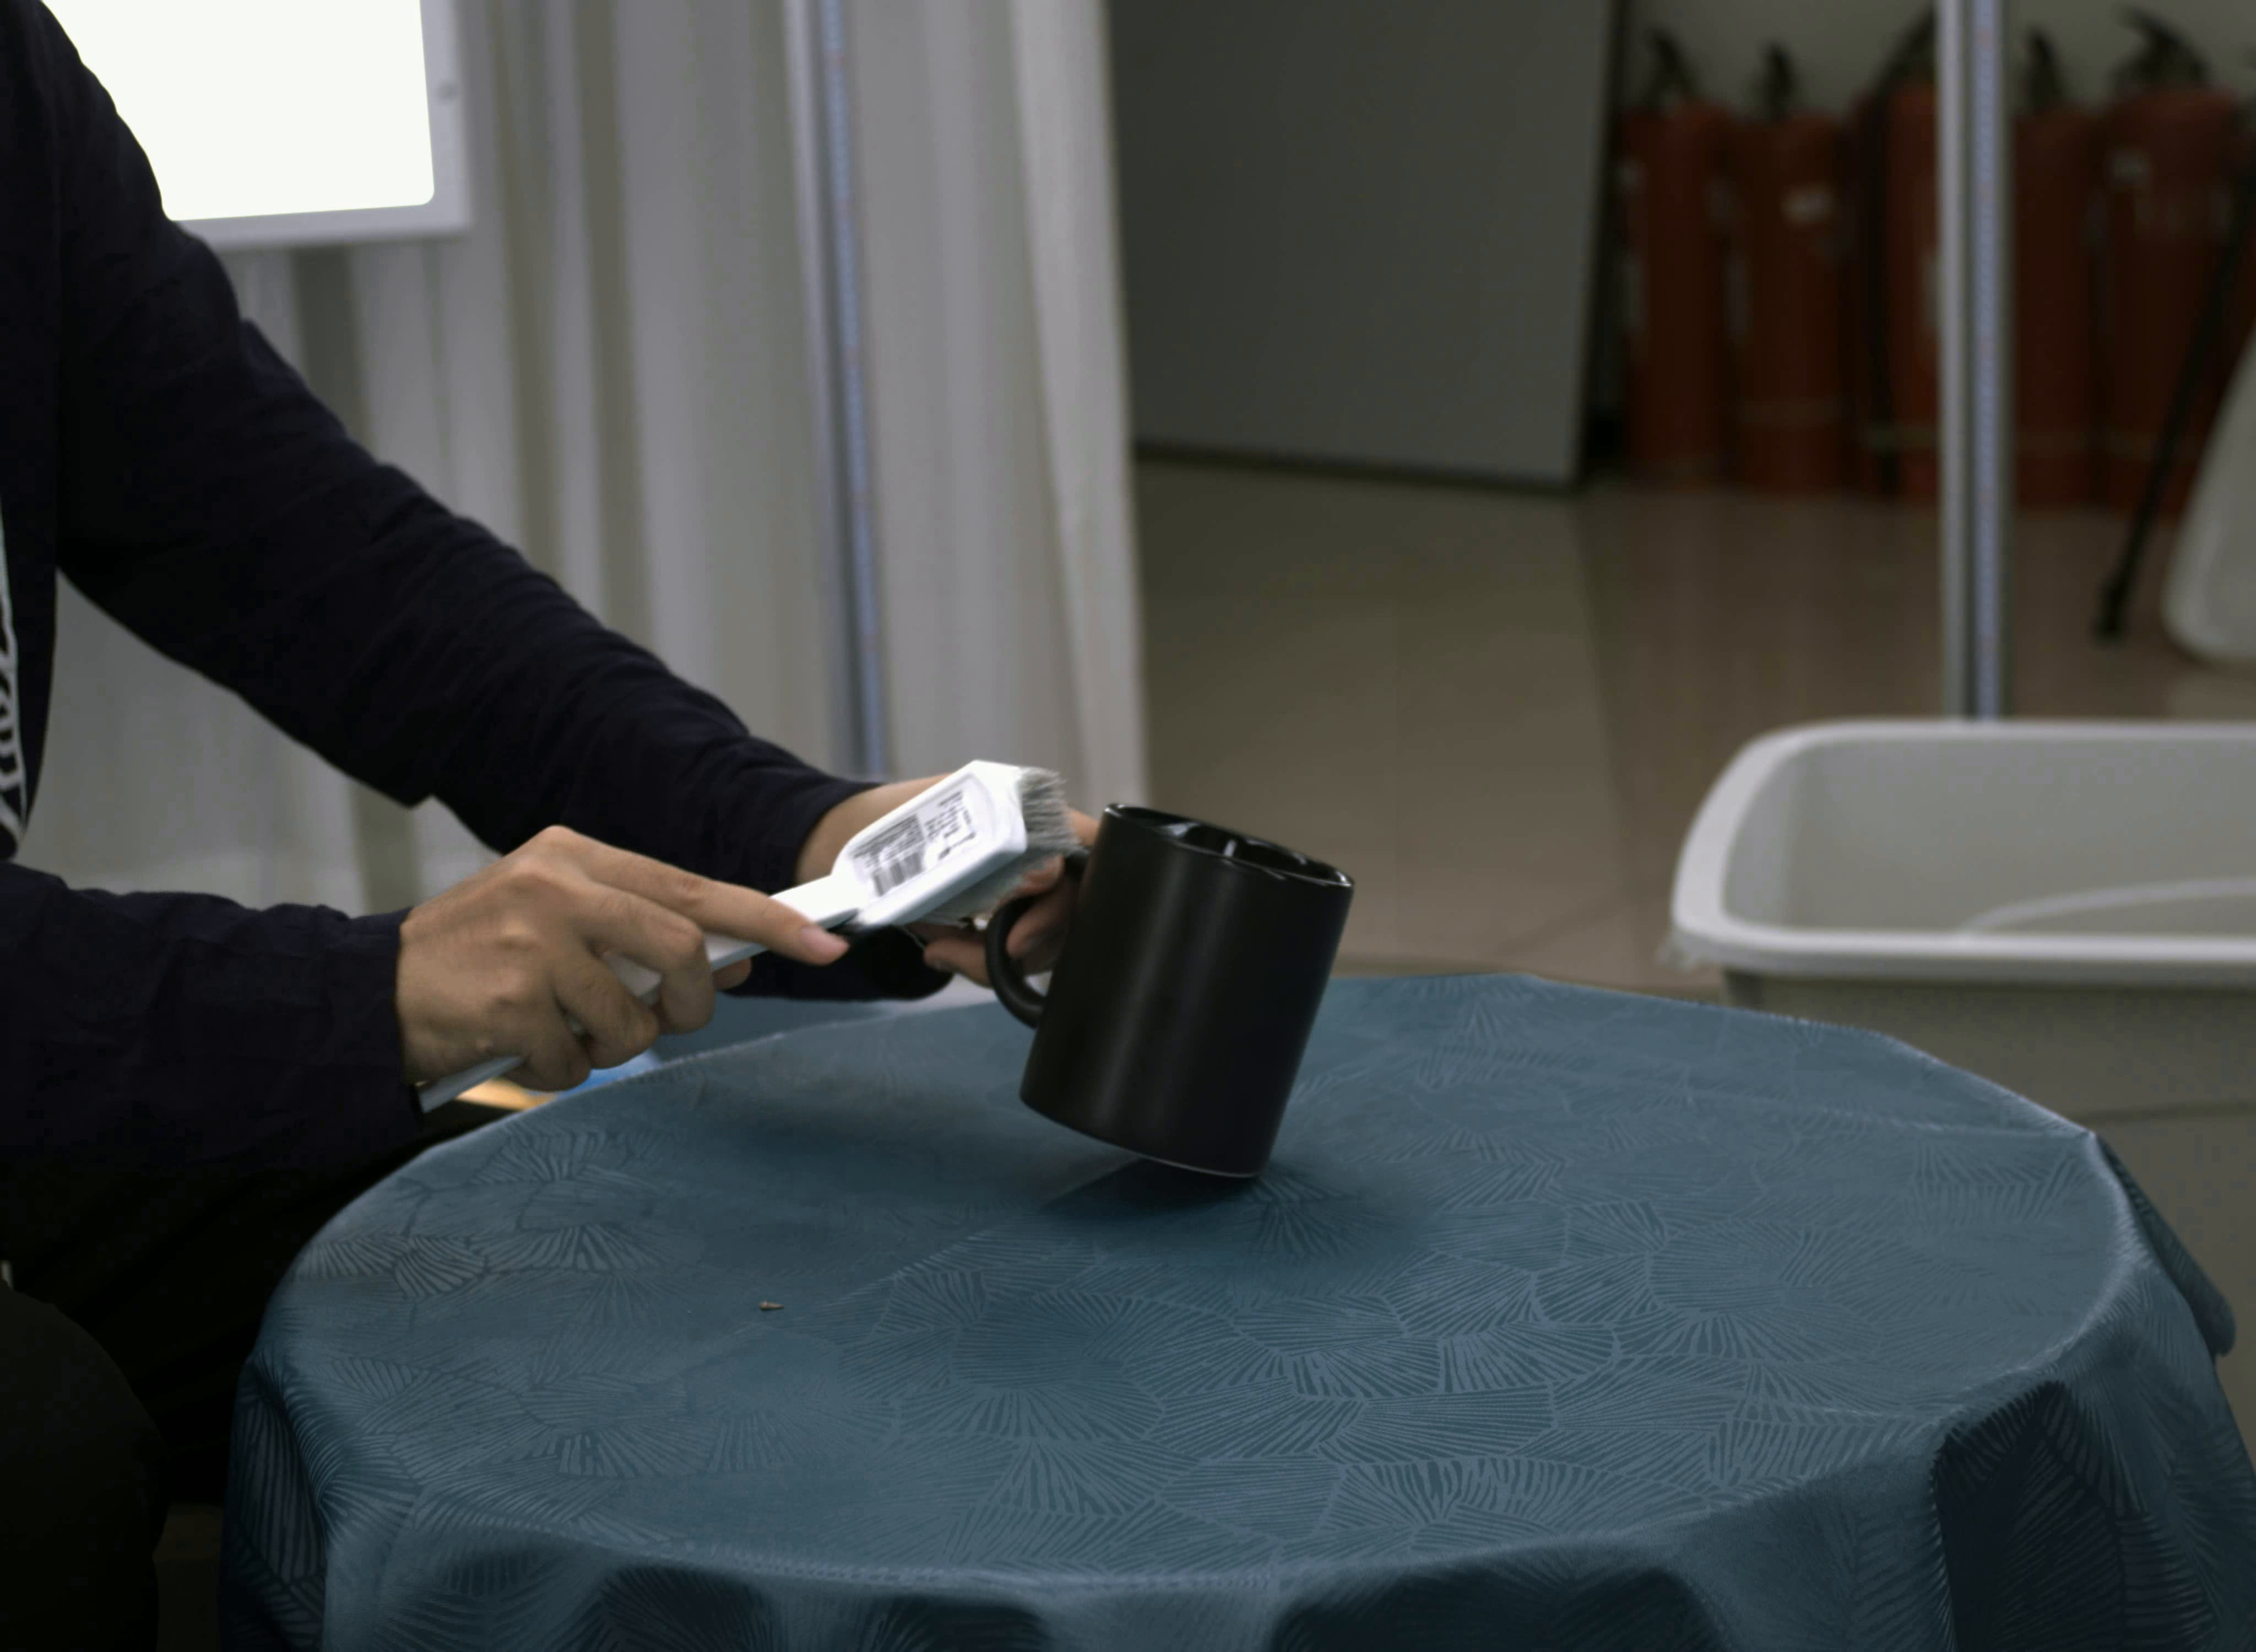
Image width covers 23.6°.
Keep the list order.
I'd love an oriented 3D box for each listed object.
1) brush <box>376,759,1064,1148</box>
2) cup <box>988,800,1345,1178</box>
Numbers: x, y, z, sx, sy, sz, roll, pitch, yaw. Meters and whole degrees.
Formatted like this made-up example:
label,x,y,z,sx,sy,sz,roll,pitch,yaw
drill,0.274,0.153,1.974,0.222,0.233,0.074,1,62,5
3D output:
label,x,y,z,sx,sy,sz,roll,pitch,yaw
brush,-0.130,0.044,1.727,0.243,0.035,0.049,-28,-17,14
cup,0.005,0.049,1.788,0.124,0.106,0.087,18,9,34
